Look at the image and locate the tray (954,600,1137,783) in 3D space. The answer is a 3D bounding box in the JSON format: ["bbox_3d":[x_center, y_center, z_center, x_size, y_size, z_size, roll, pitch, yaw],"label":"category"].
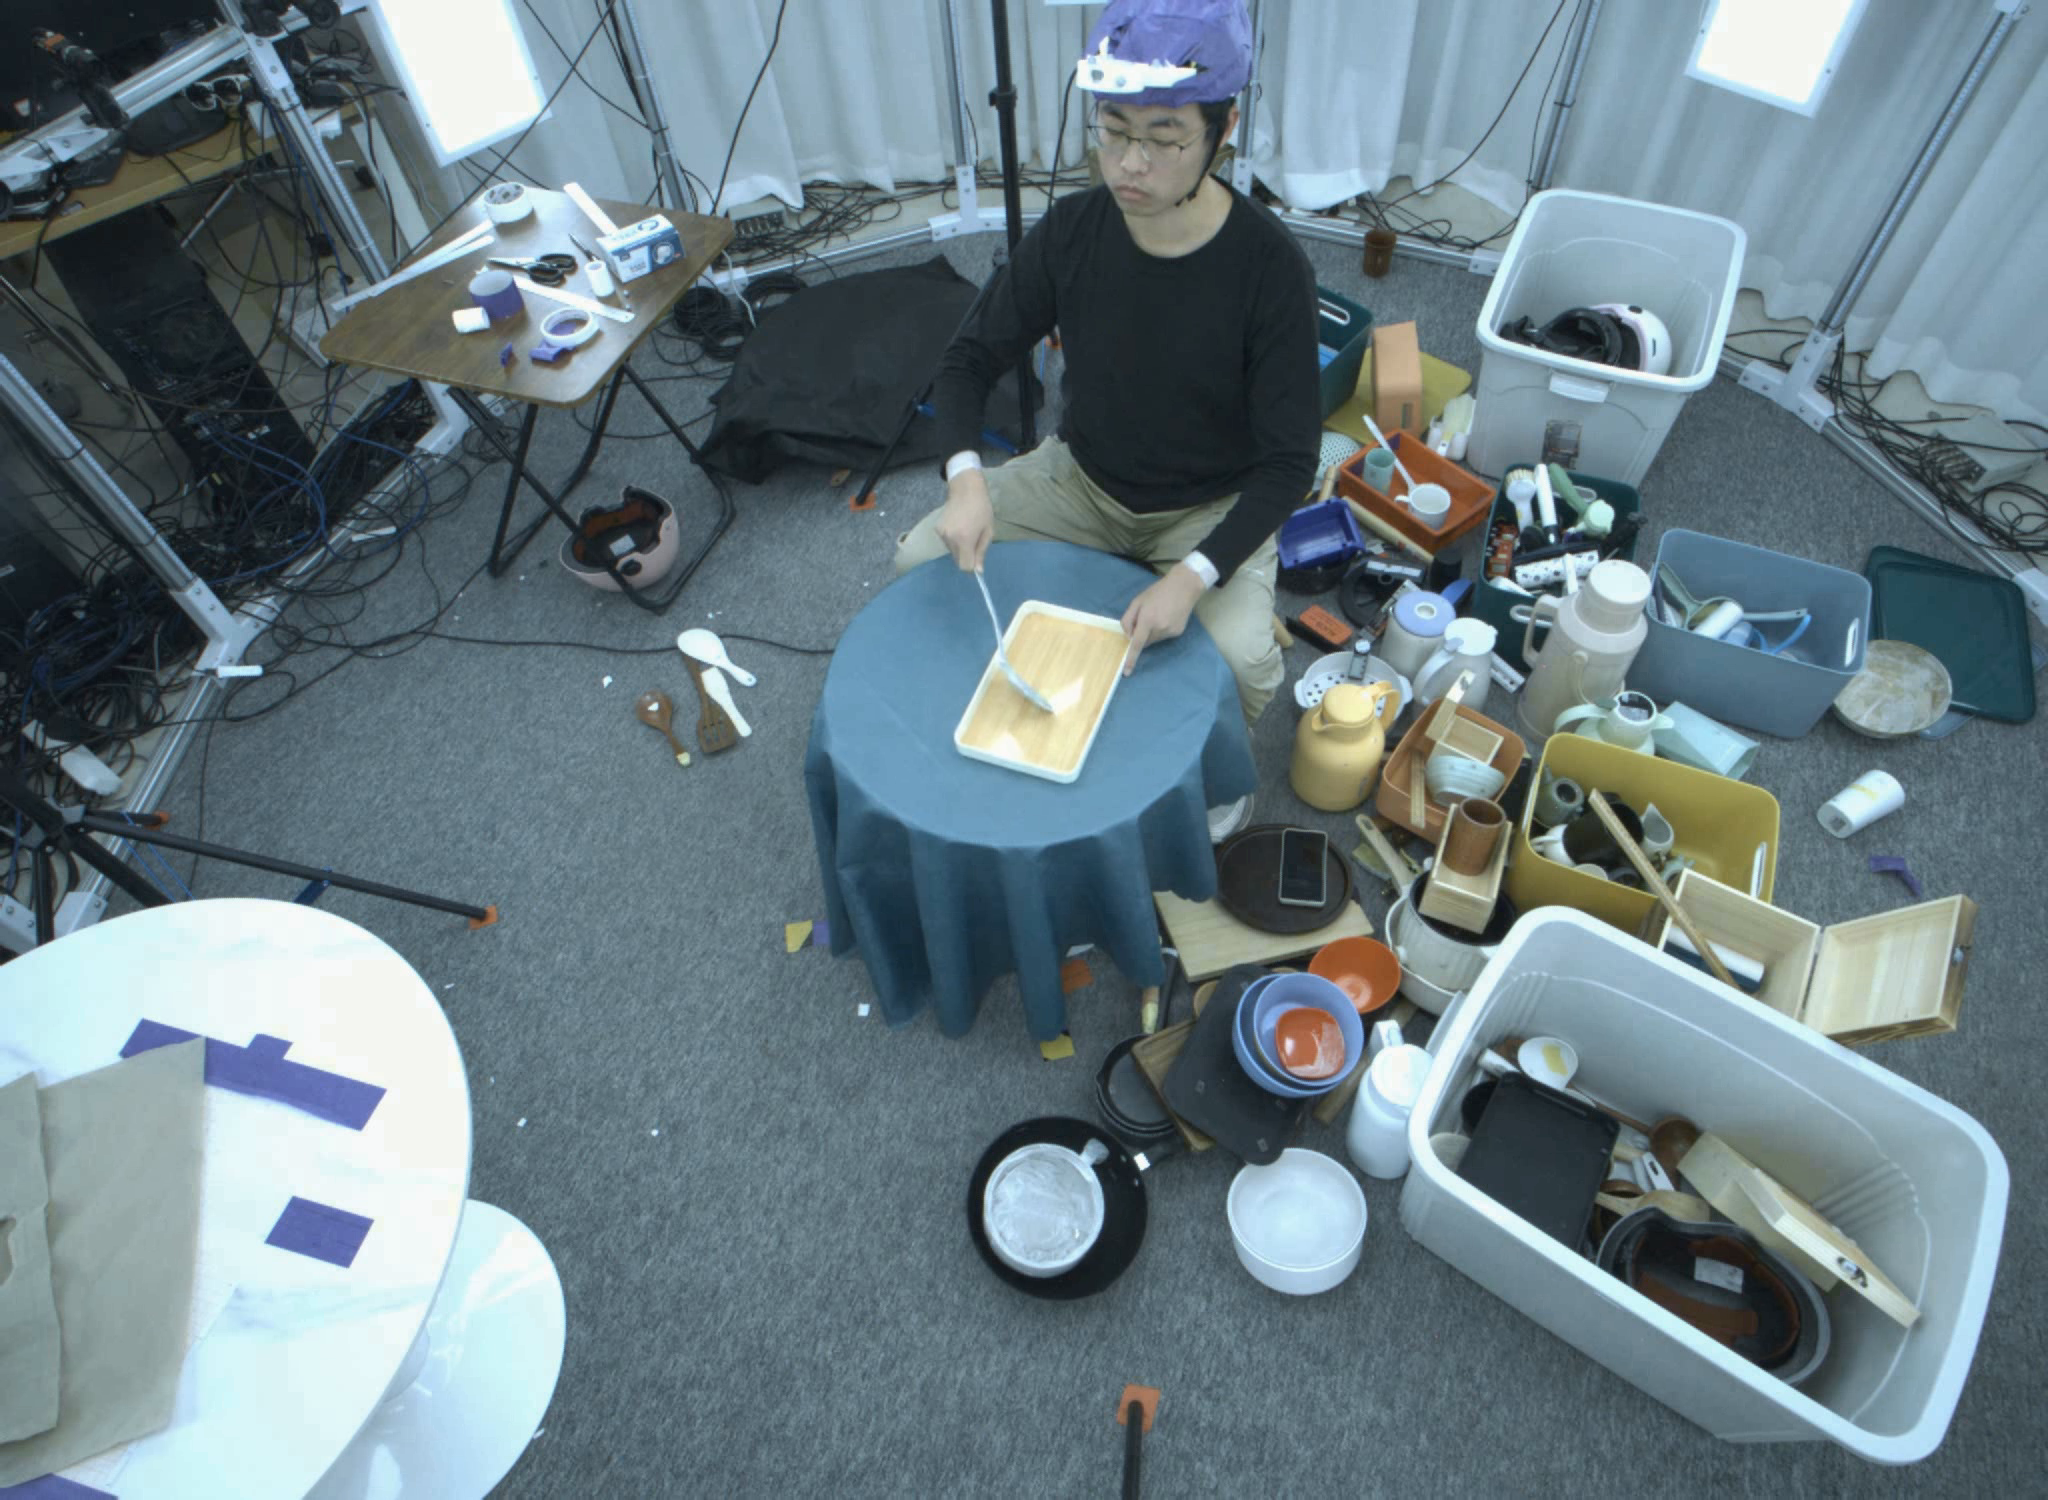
[{"bbox_3d":[0.036,-0.094,1.836,0.189,0.028,0.300,17,57,13],"label":"tray"}]

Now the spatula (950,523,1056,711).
[{"bbox_3d":[-0.044,-0.210,1.841,0.044,0.100,0.361,-27,69,19],"label":"spatula"}]
